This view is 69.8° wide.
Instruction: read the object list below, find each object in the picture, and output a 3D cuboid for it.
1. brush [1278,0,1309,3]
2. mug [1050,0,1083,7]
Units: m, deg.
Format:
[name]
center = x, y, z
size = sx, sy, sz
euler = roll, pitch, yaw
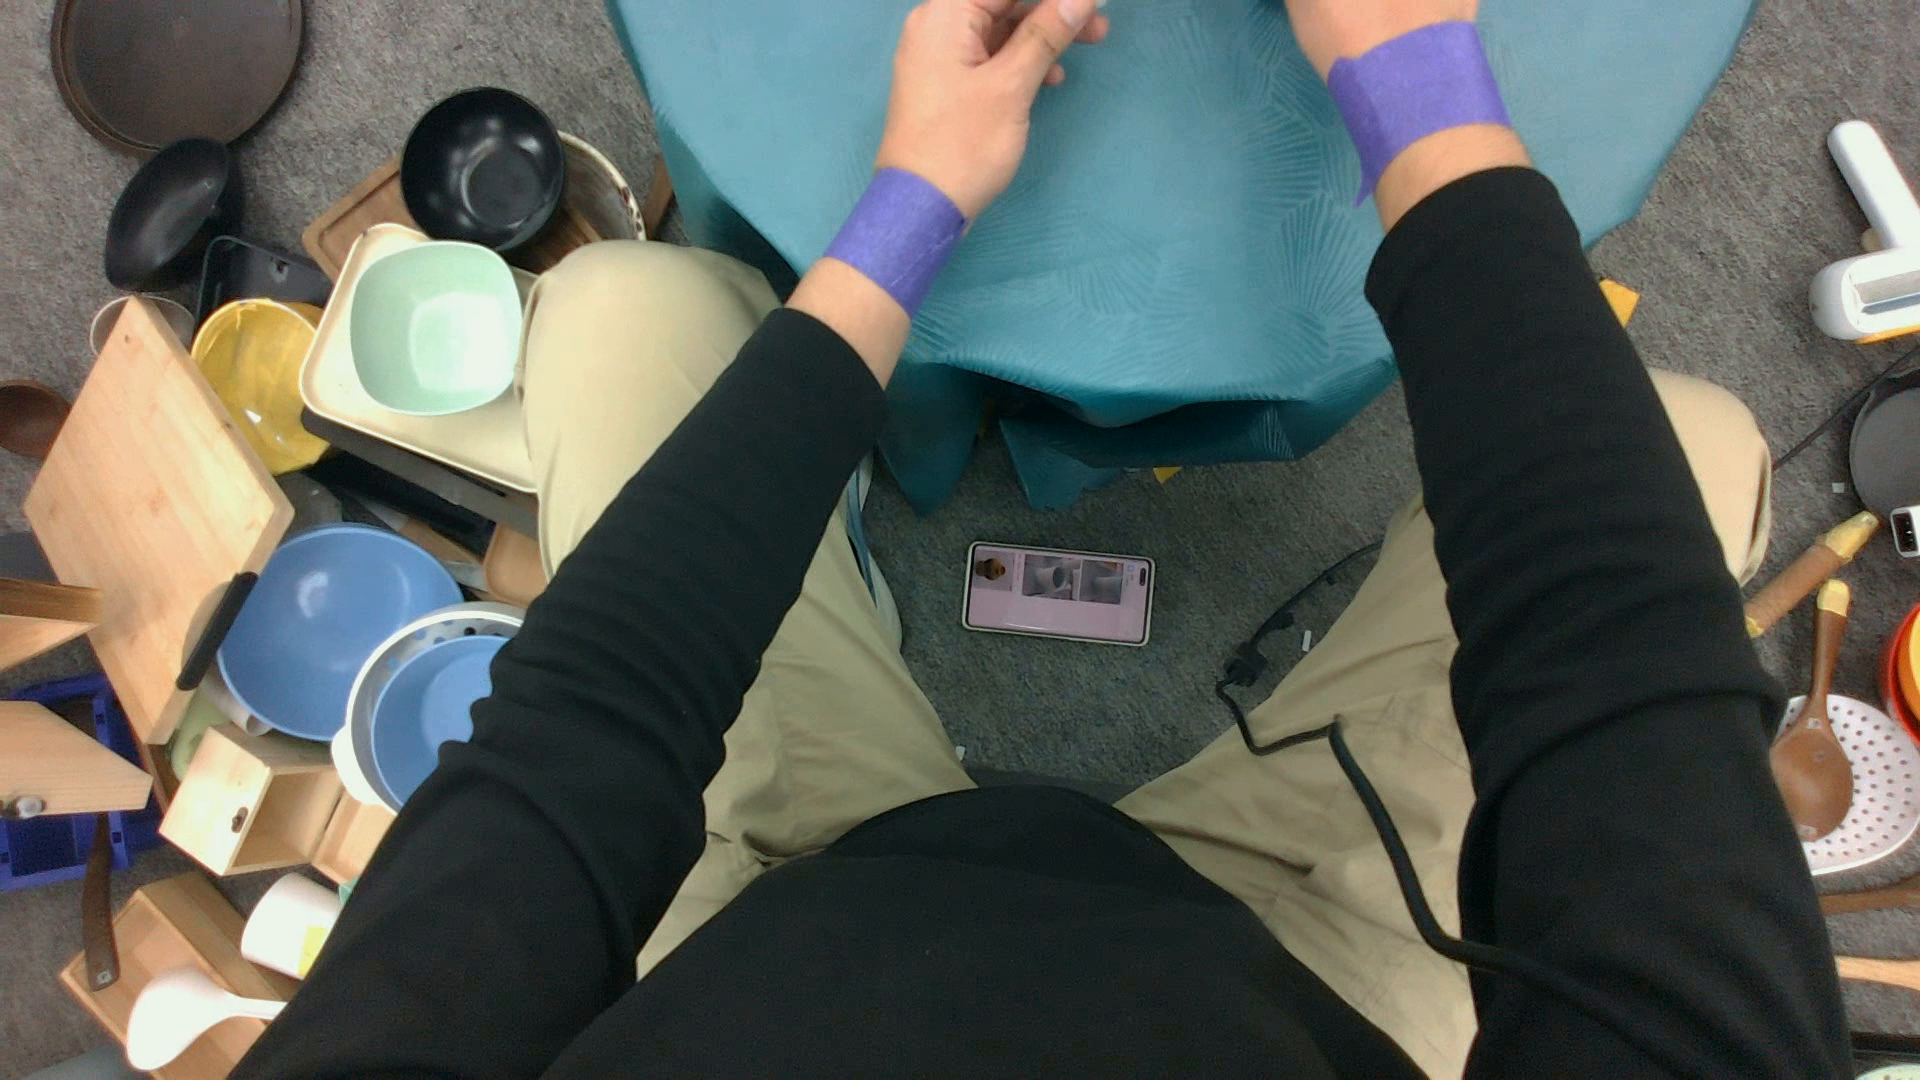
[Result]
[brush]
center = 0.155, -0.315, 0.645
size = 0.050, 0.072, 0.099
euler = -12, 76, 6
[mug]
center = 0.043, -0.308, 0.642
size = 0.085, 0.102, 0.118
euler = -8, 87, 3
